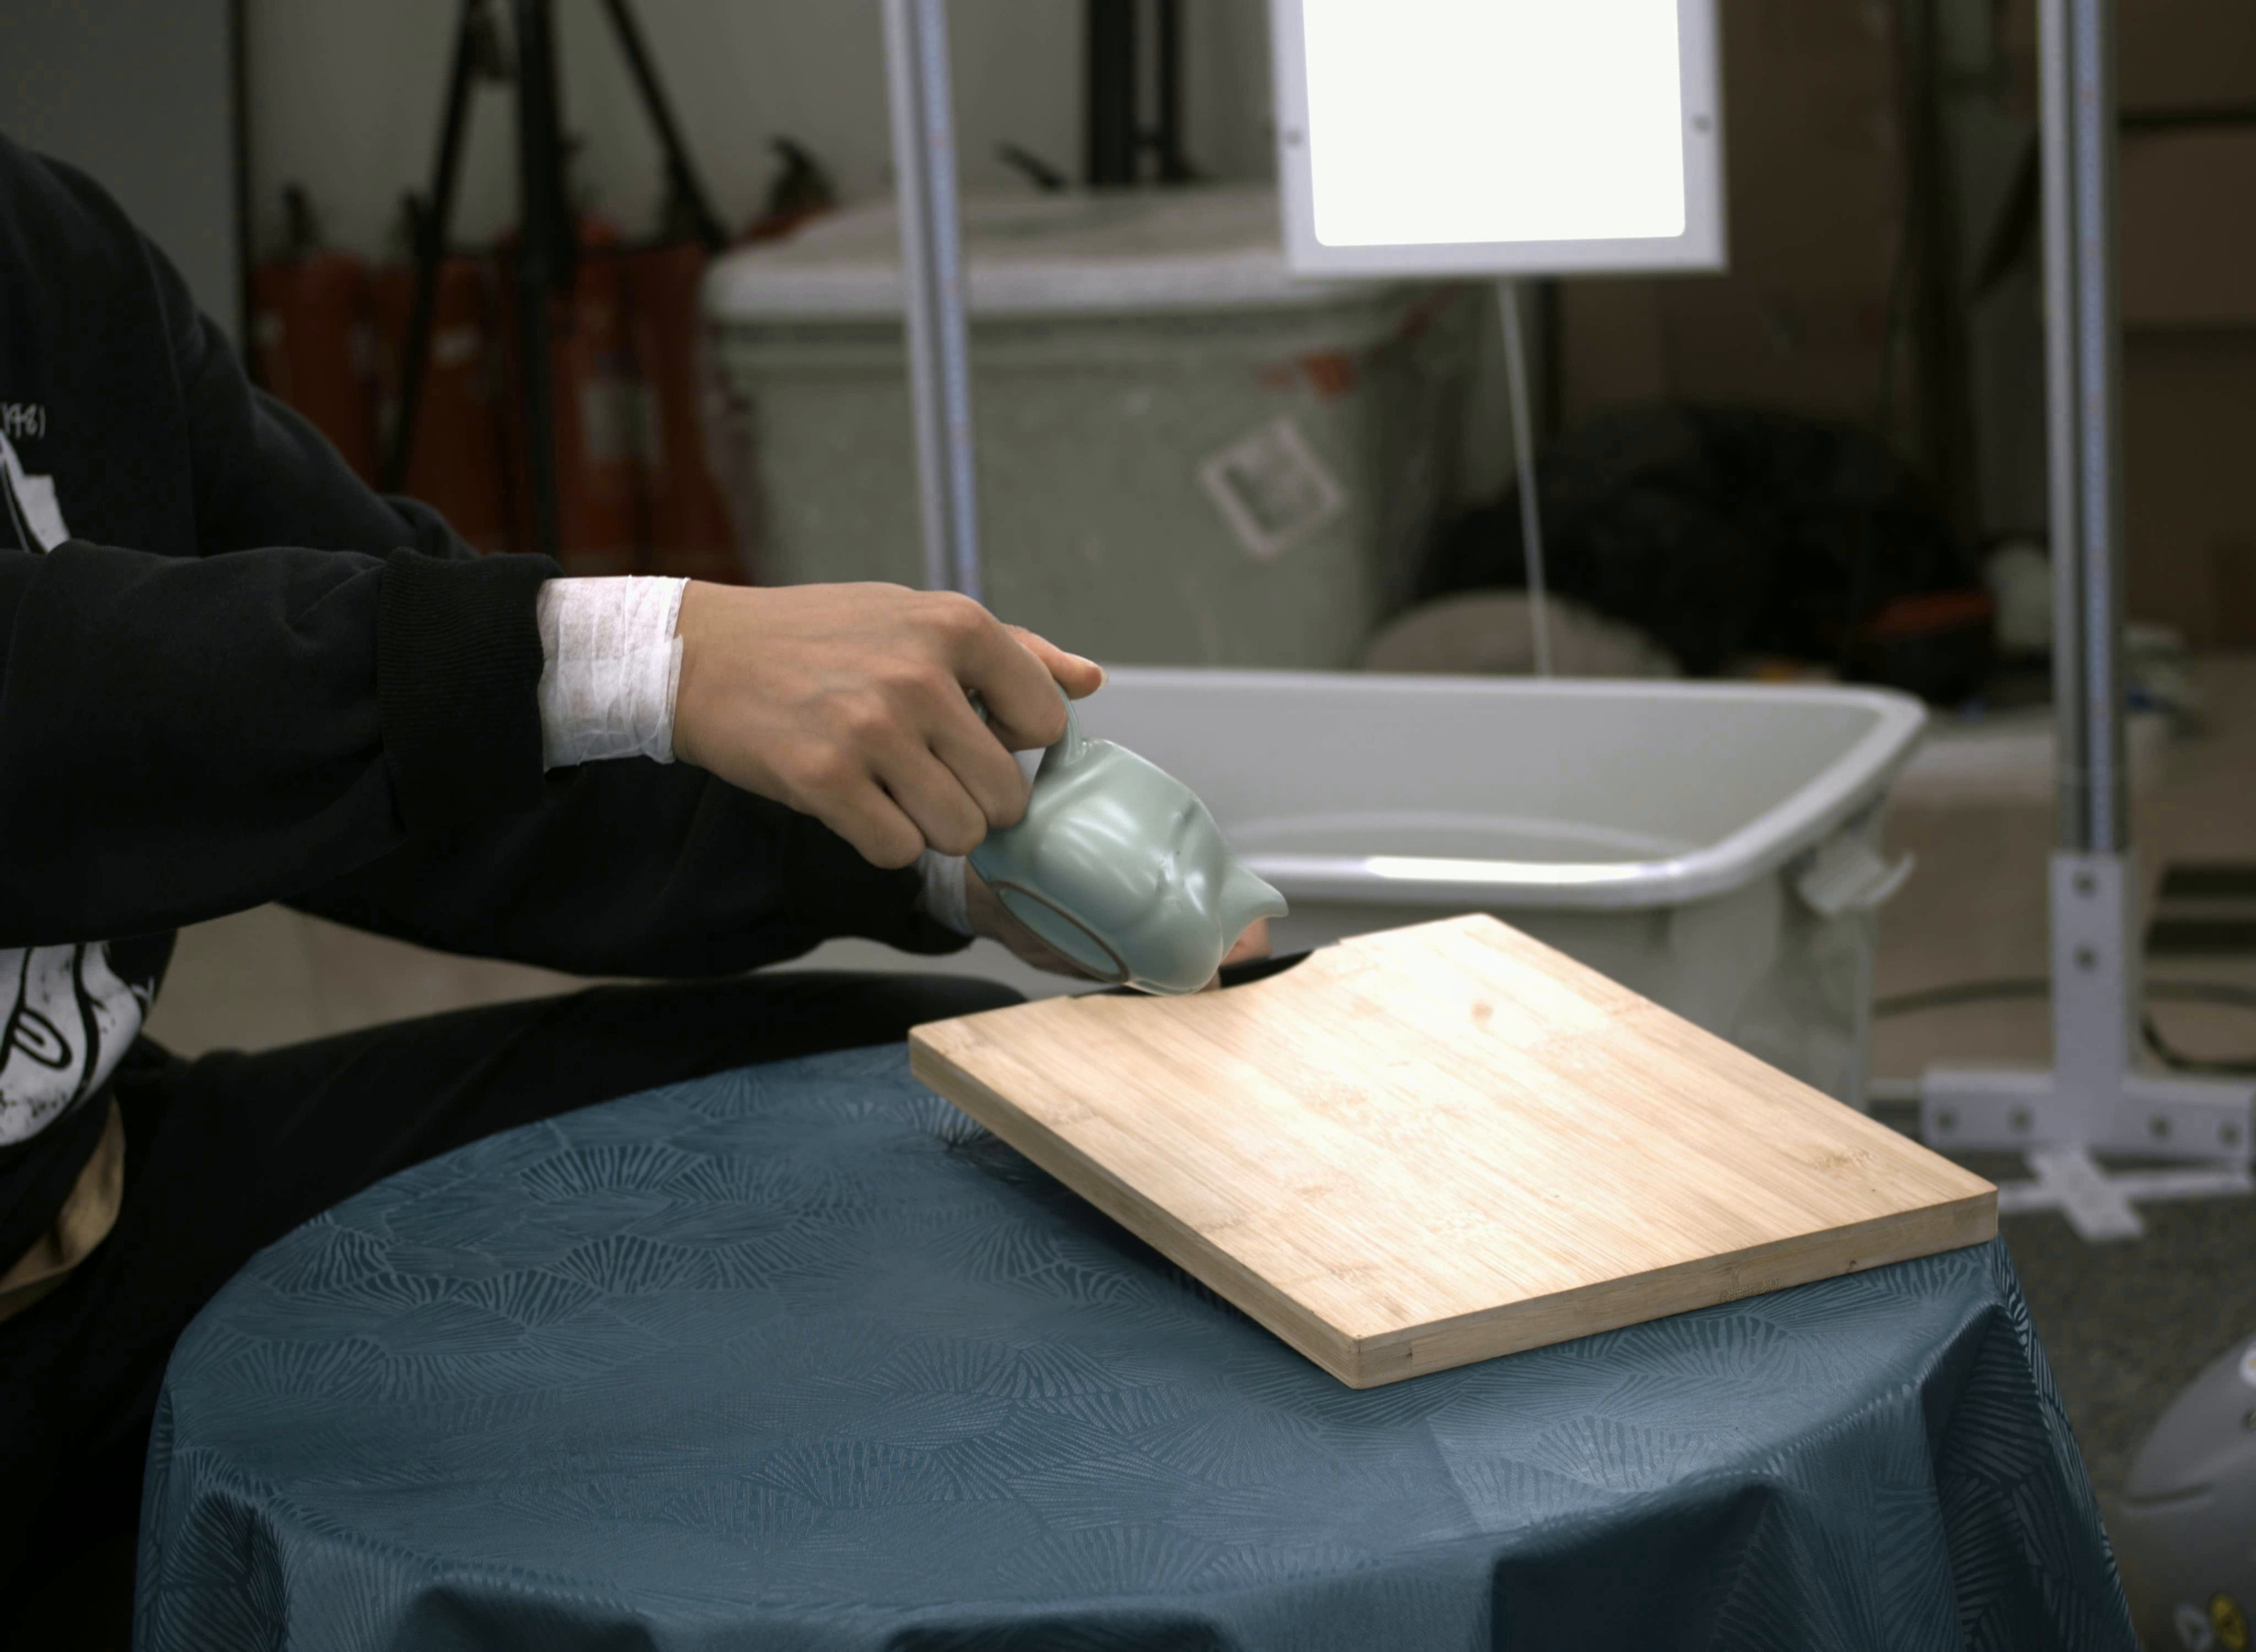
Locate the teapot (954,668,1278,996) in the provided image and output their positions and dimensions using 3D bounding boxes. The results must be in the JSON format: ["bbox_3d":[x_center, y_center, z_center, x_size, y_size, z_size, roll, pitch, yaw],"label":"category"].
[{"bbox_3d":[-0.009,0.008,1.751,0.061,0.135,0.098,-54,29,-13],"label":"teapot"}]

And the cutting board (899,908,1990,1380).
[{"bbox_3d":[0.100,0.102,1.879,0.245,0.024,0.354,-11,19,-24],"label":"cutting board"}]
